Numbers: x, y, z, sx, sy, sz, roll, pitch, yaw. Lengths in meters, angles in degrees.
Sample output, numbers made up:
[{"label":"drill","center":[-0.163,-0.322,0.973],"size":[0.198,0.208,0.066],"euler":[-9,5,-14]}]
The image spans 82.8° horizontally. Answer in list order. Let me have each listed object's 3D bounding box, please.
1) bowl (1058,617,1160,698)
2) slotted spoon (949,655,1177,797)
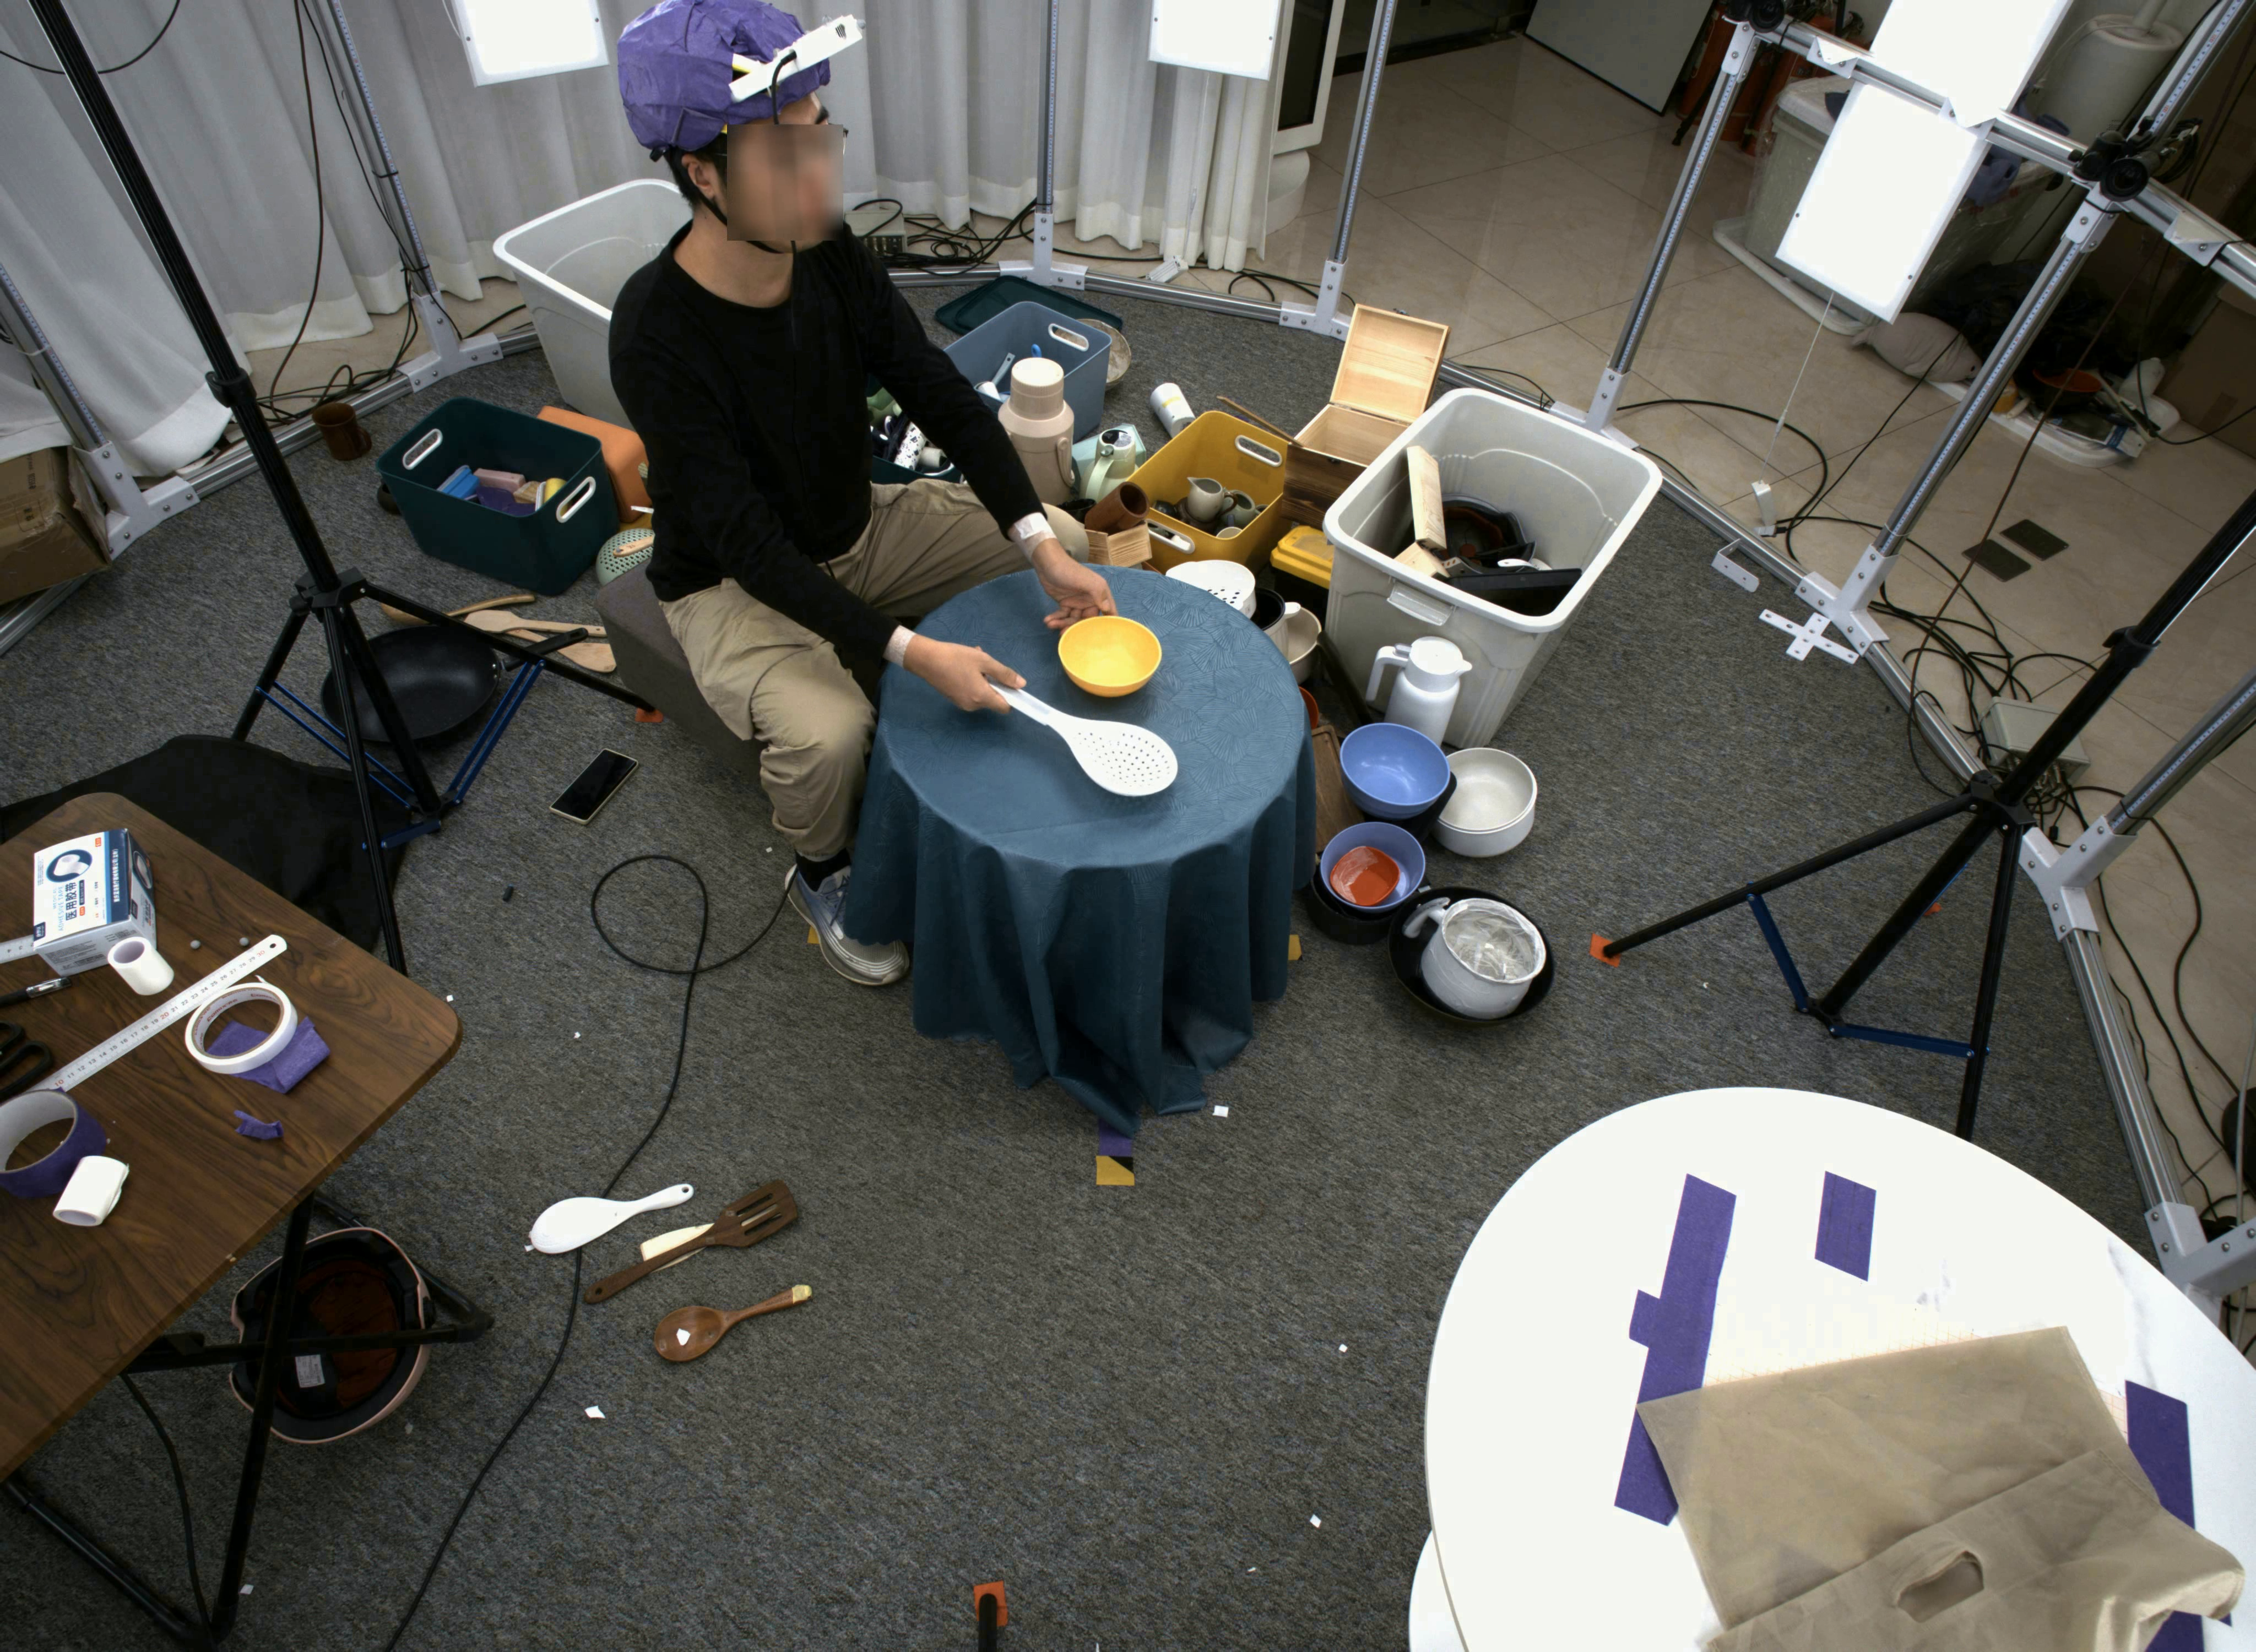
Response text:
[{"label":"bowl","center":[-0.029,-0.228,1.830],"size":[0.145,0.058,0.149],"euler":[3,48,-4]},{"label":"slotted spoon","center":[-0.093,-0.139,1.725],"size":[0.352,0.045,0.138],"euler":[34,45,10]}]
